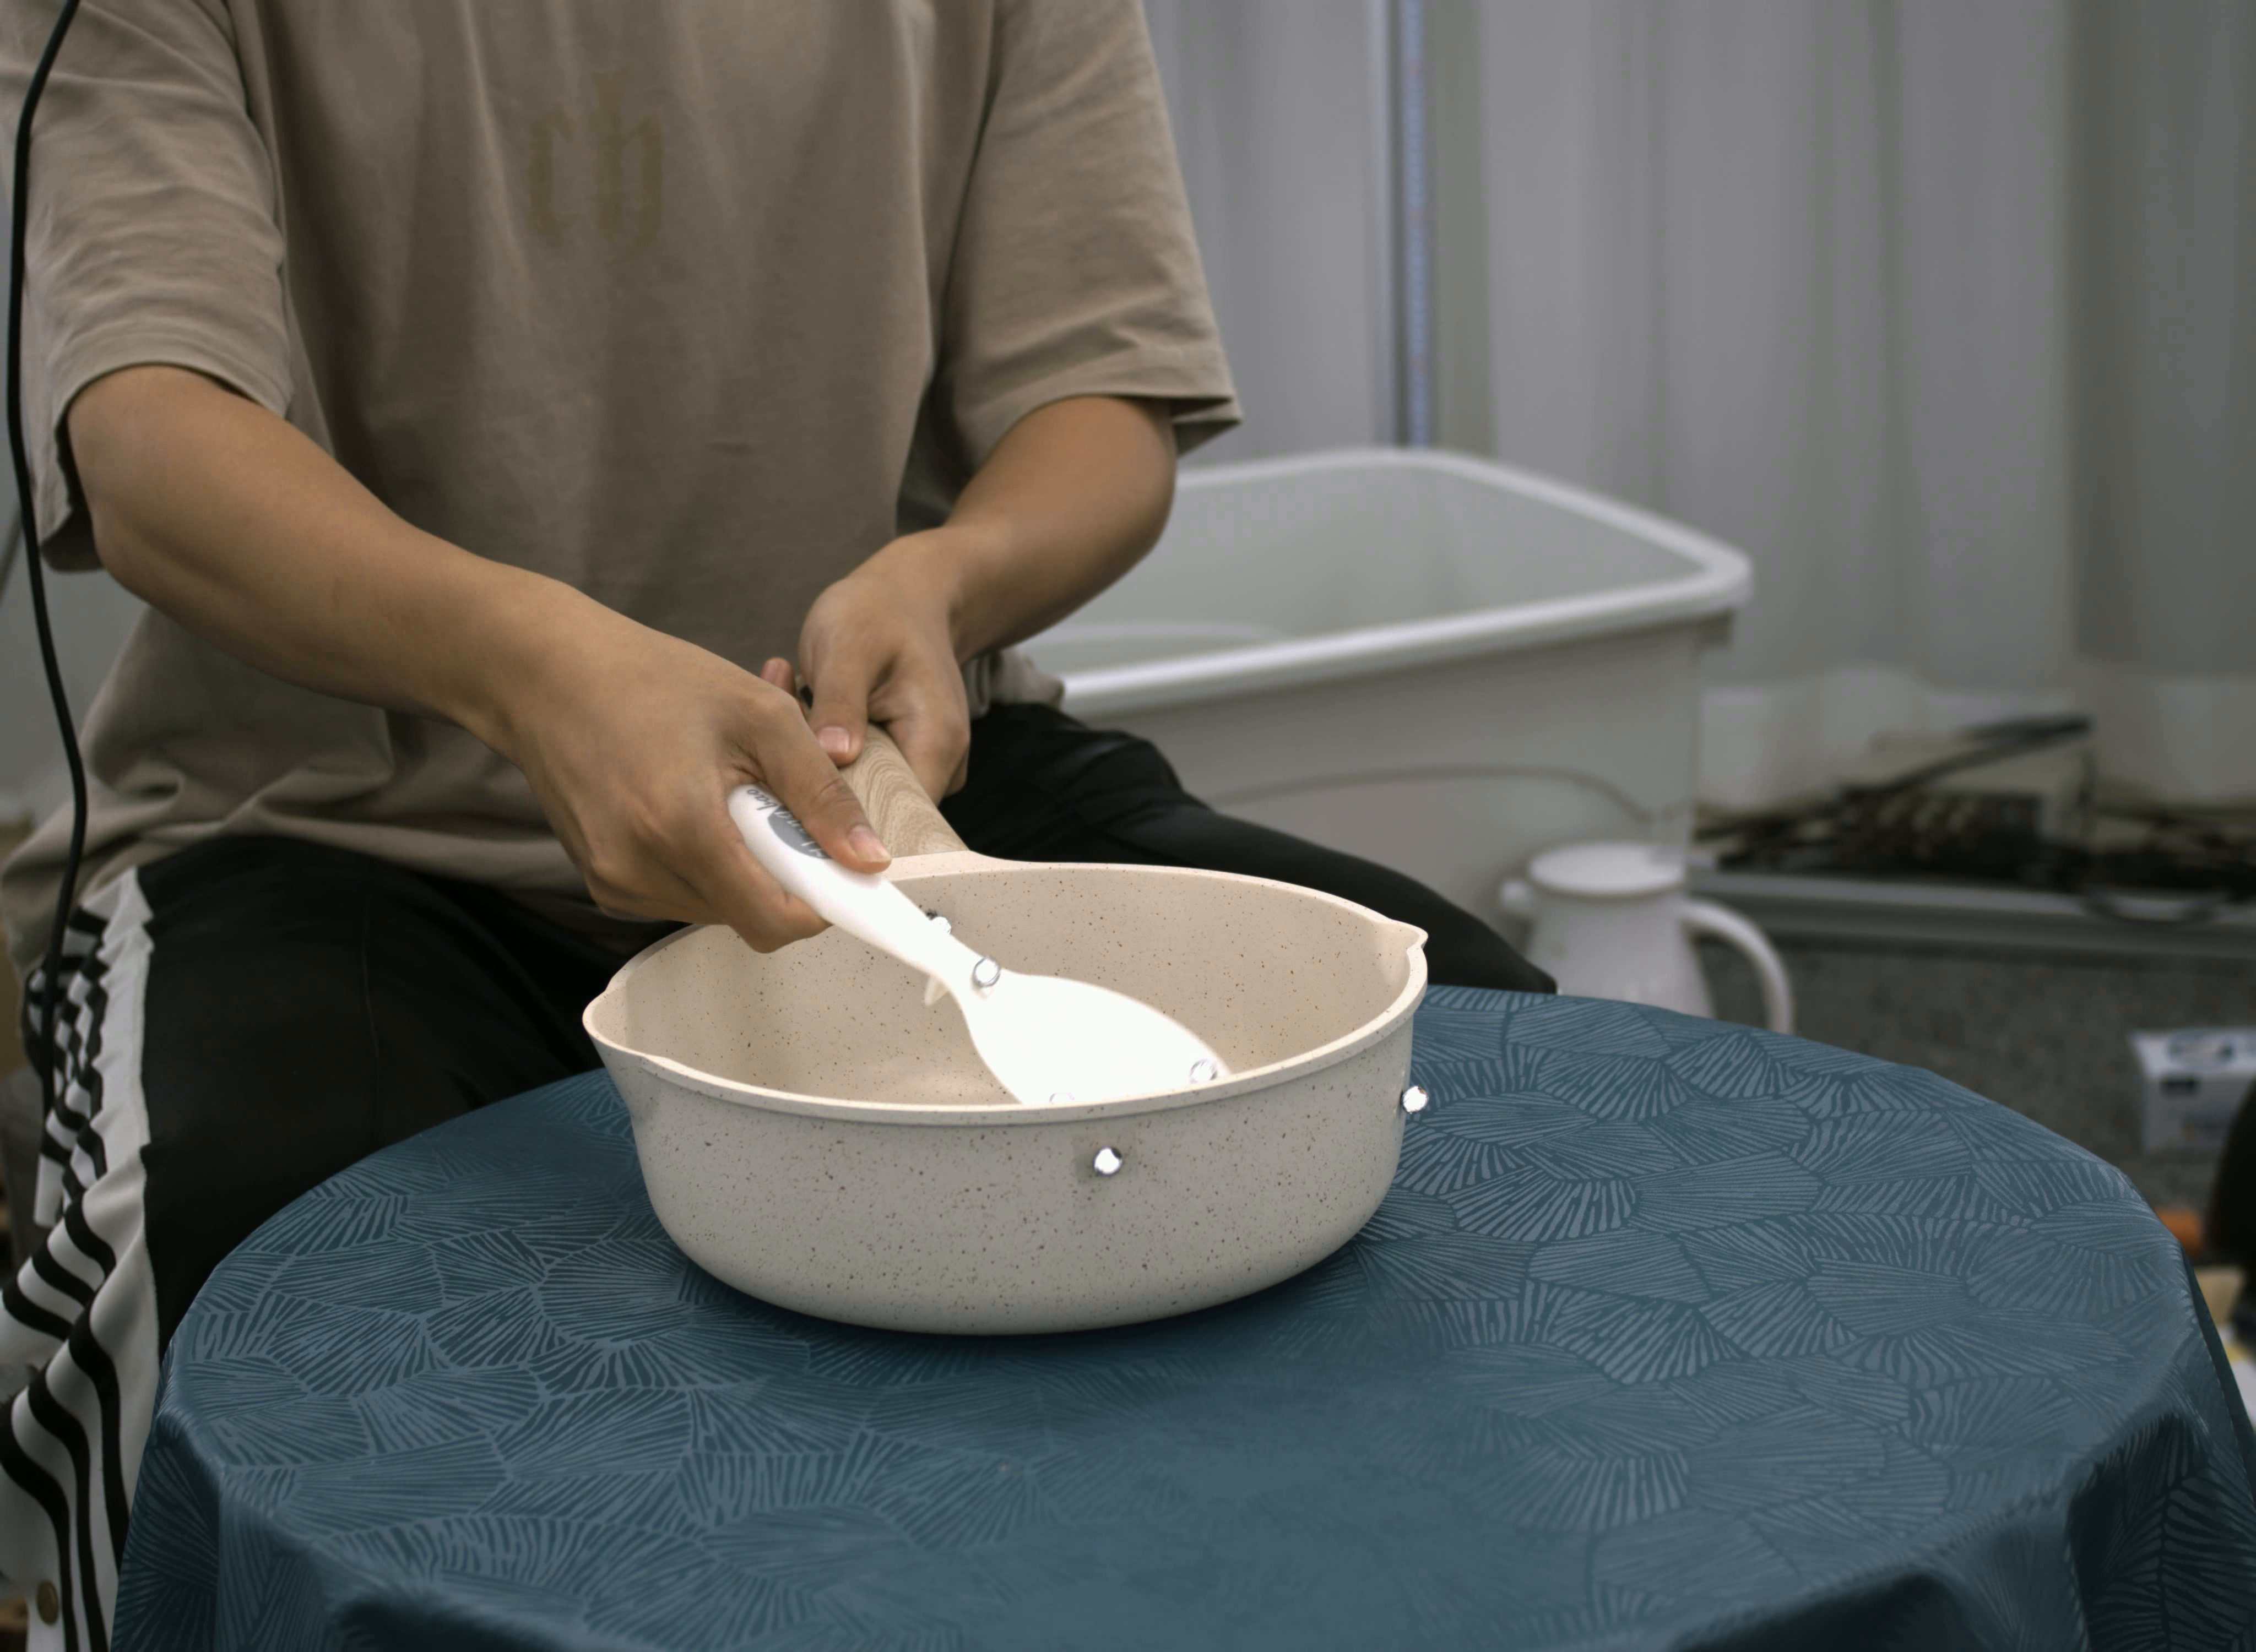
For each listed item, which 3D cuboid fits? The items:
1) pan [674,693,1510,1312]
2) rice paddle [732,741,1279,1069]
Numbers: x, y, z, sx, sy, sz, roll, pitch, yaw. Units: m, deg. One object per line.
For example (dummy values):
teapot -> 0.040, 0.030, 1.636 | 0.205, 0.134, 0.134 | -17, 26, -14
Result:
pan -> -0.030, 0.051, 1.761 | 0.262, 0.101, 0.438 | -9, 15, -13
rice paddle -> -0.032, 0.040, 1.687 | 0.206, 0.029, 0.069 | 33, 40, 15
